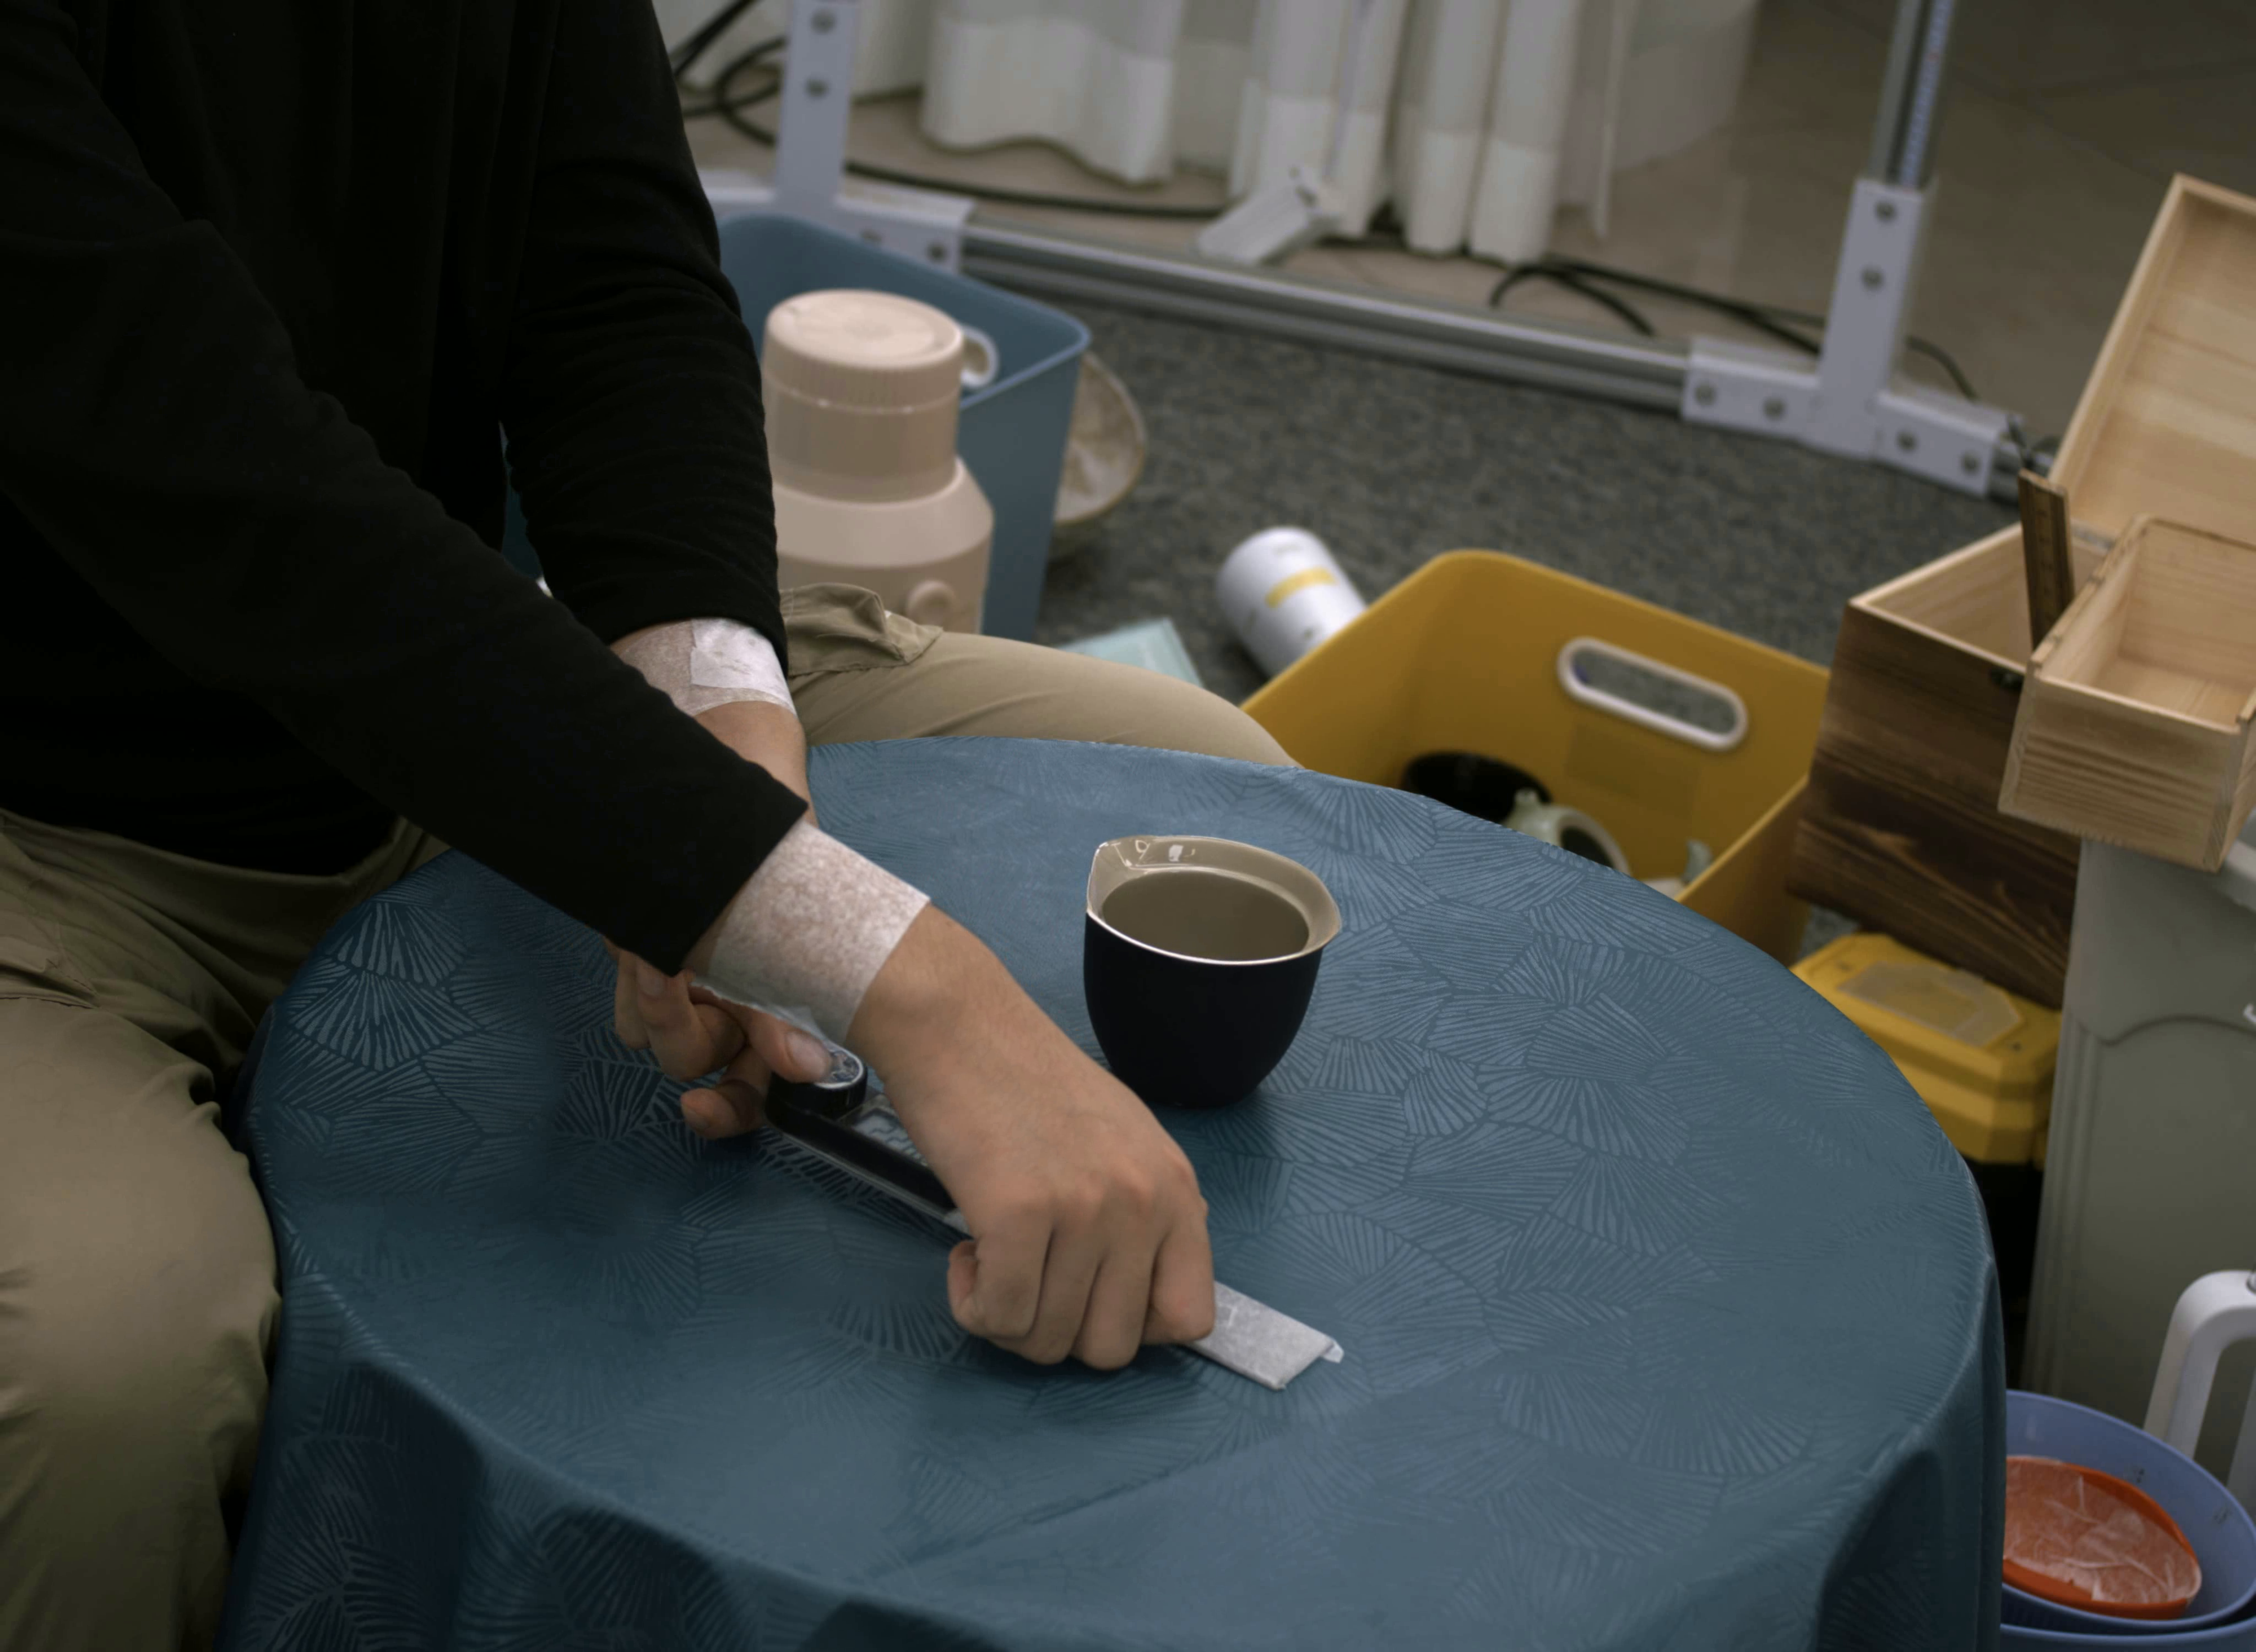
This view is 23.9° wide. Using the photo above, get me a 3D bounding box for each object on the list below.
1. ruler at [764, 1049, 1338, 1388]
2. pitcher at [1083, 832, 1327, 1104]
[{"bbox_3d":[-0.029,0.126,1.755,0.219,0.024,0.038,24,35,27],"label":"ruler"},{"bbox_3d":[0.021,0.053,1.865,0.083,0.071,0.097,-17,36,-37],"label":"pitcher"}]
